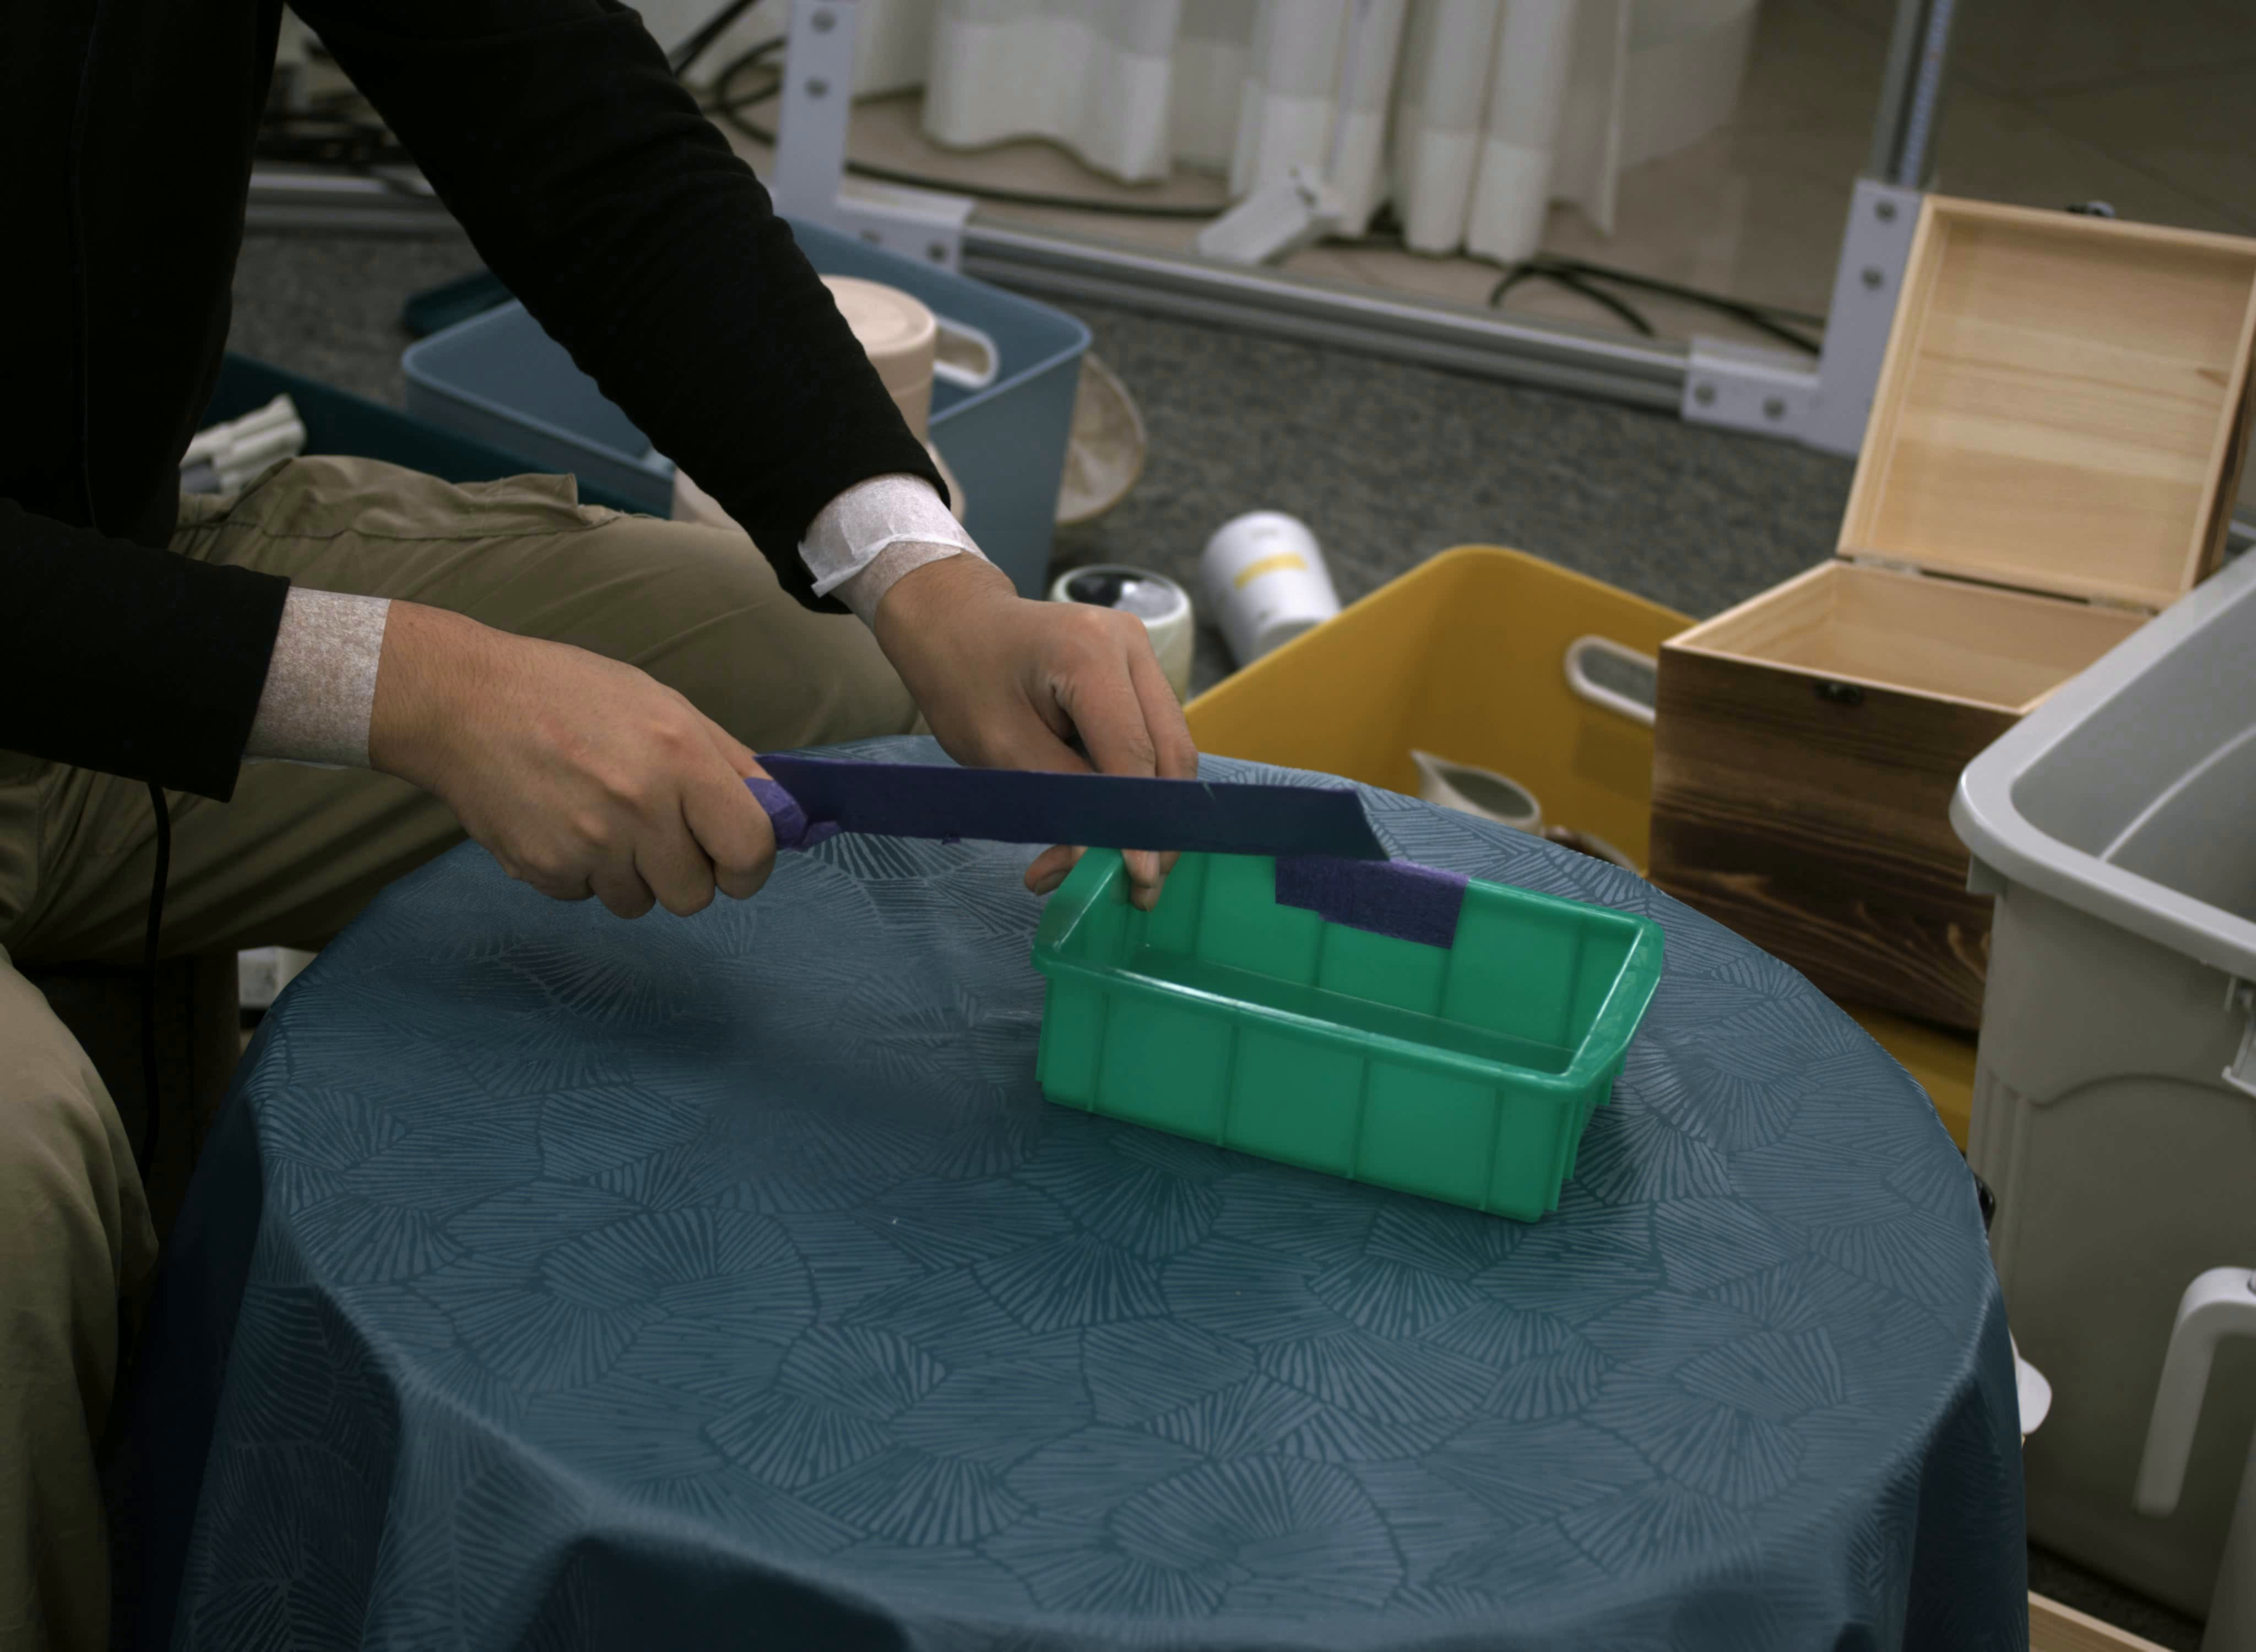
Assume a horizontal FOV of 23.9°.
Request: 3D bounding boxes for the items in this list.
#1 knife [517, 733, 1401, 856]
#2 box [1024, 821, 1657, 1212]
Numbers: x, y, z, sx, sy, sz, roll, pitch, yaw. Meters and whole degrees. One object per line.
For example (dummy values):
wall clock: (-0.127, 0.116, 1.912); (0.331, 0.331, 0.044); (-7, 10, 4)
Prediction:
knife: (-0.066, -0.013, 1.824); (0.315, 0.032, 0.103); (1, -16, 12)
box: (0.073, 0.065, 1.865); (0.211, 0.065, 0.139); (11, 26, 13)
